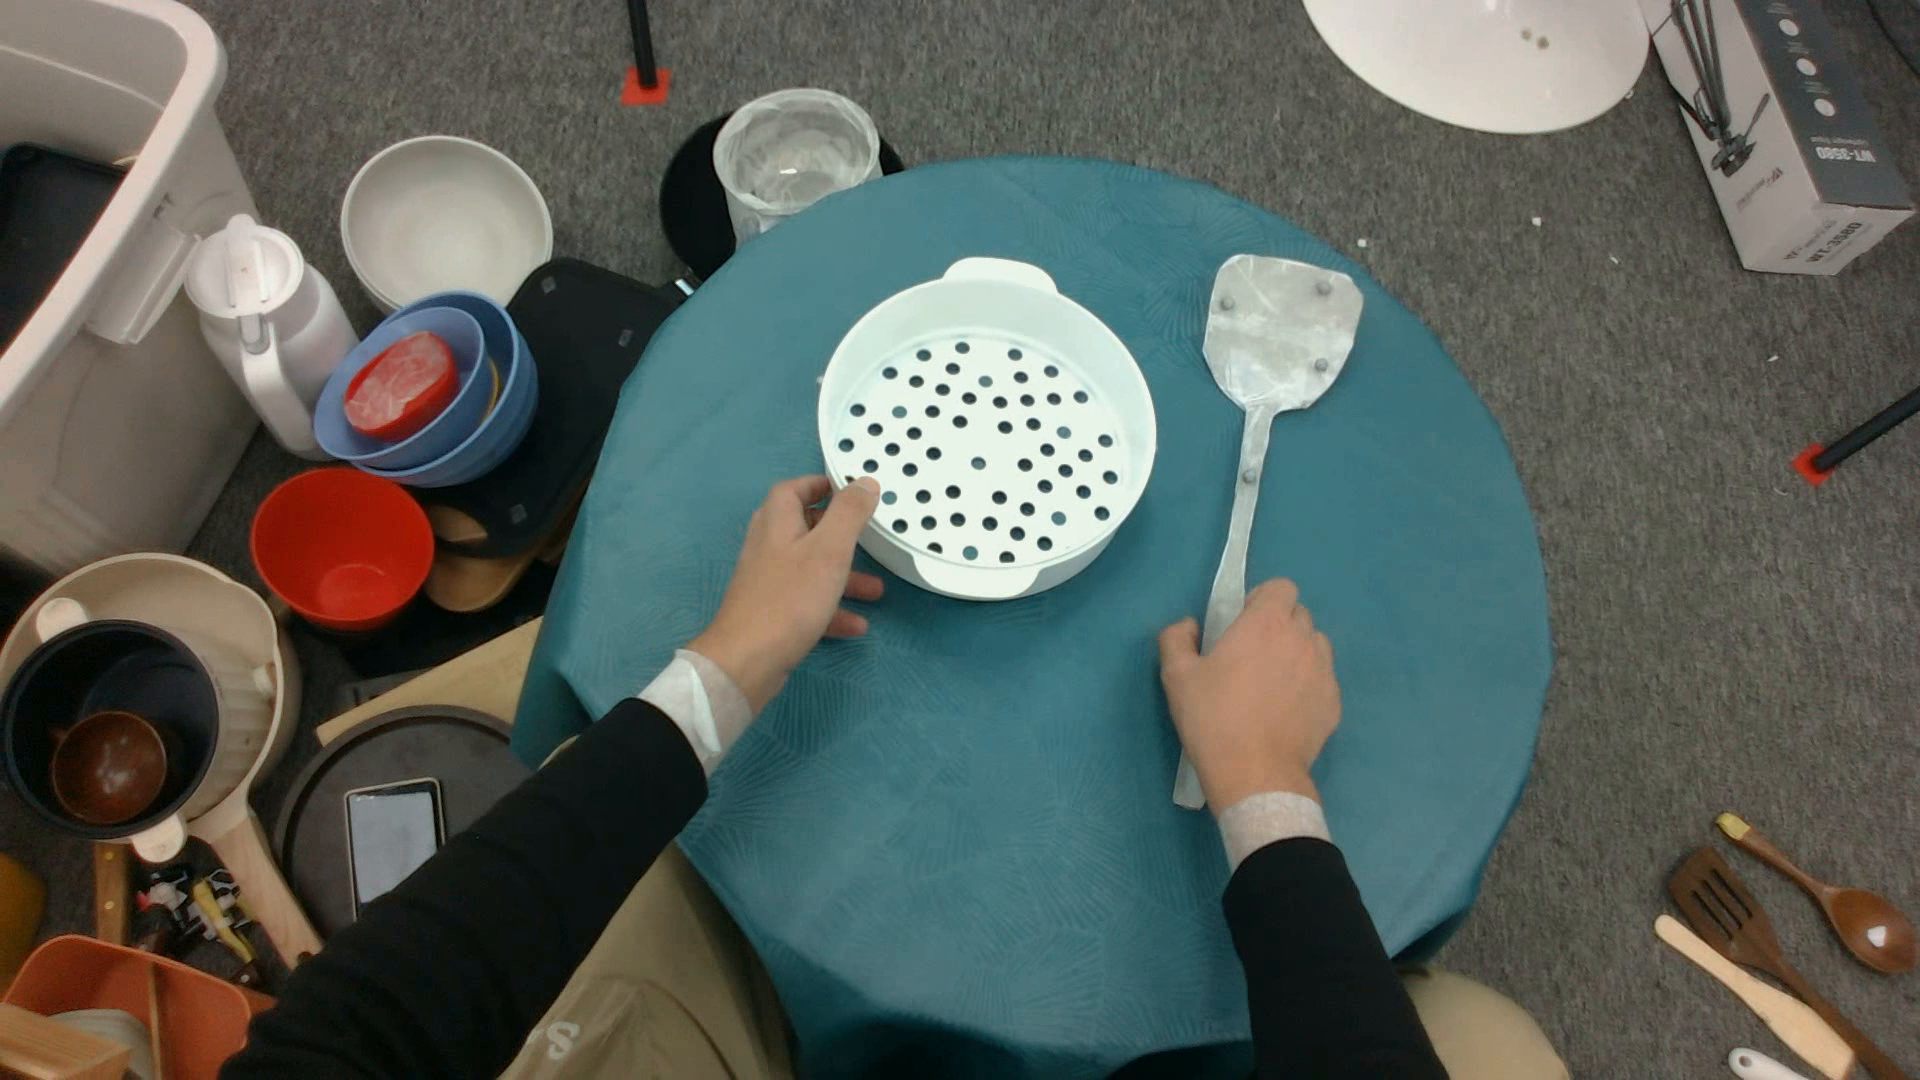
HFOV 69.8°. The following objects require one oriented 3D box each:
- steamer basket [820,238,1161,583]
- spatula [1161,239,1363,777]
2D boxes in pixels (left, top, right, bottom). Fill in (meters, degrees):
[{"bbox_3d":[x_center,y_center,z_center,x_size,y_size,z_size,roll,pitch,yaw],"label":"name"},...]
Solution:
[{"bbox_3d":[0.017,-0.072,0.837,0.202,0.069,0.231,7,66,-2],"label":"steamer basket"},{"bbox_3d":[0.175,-0.028,0.851,0.098,0.044,0.366,14,65,5],"label":"spatula"}]
